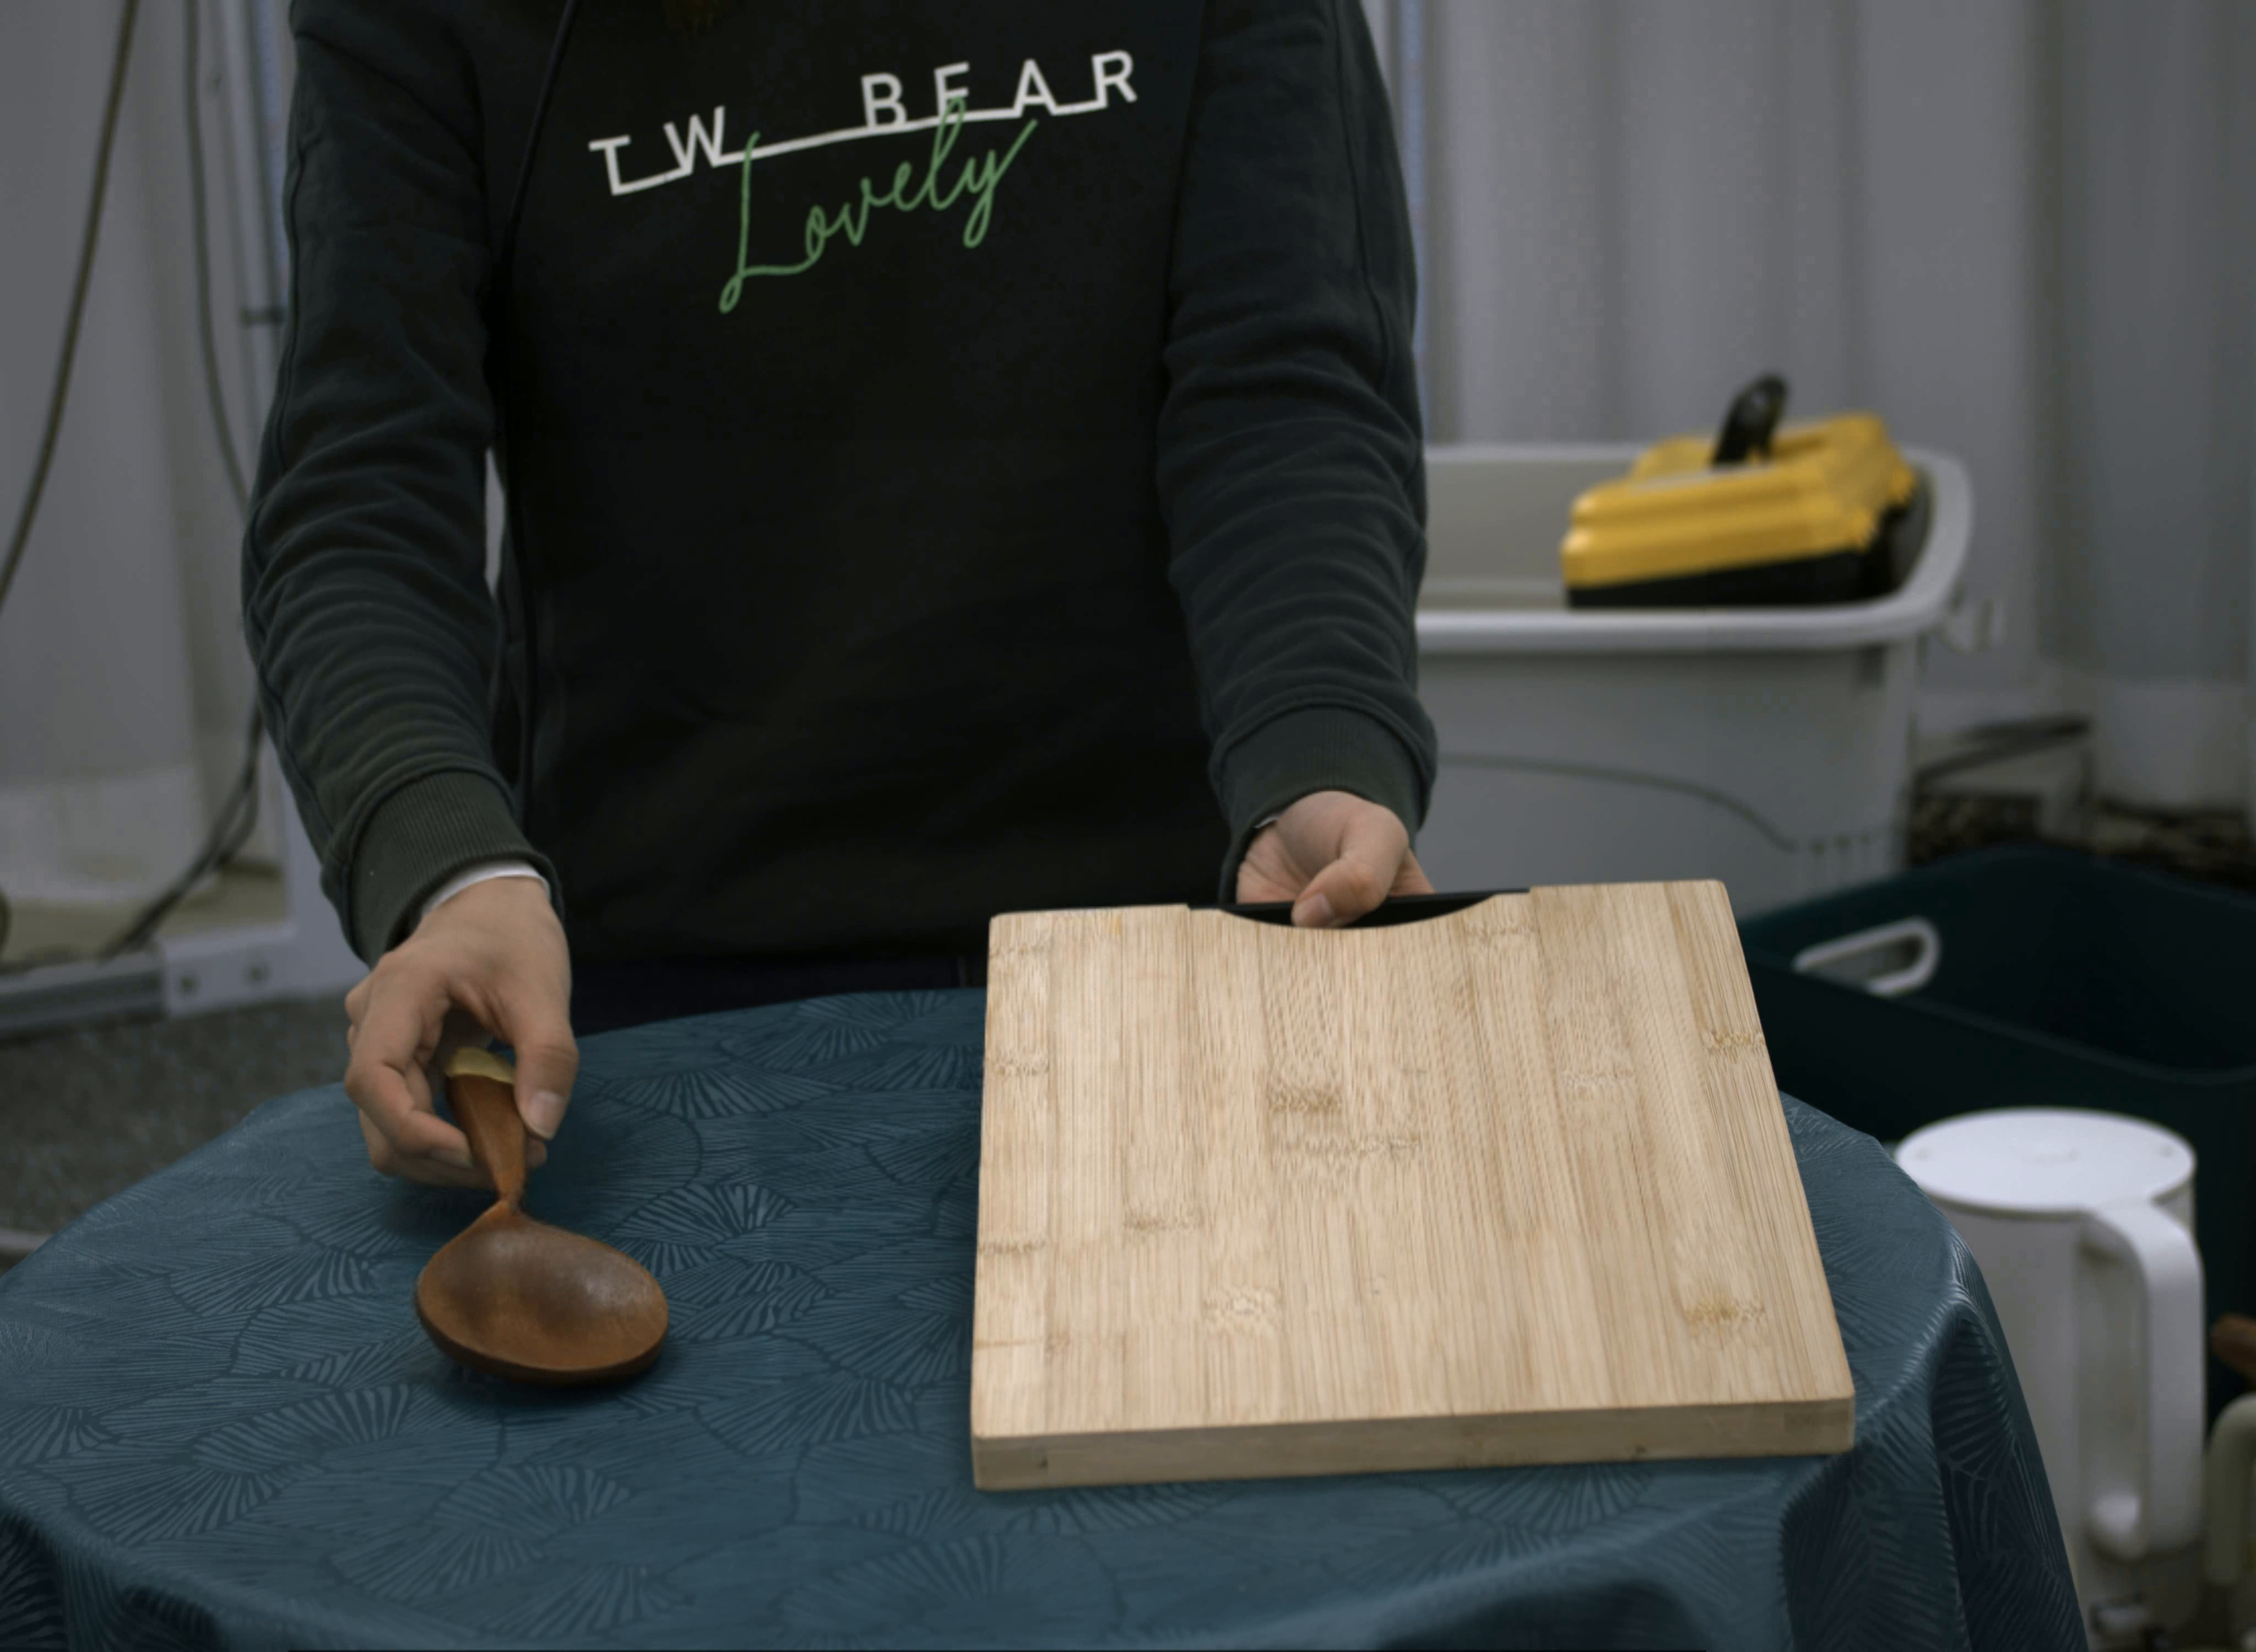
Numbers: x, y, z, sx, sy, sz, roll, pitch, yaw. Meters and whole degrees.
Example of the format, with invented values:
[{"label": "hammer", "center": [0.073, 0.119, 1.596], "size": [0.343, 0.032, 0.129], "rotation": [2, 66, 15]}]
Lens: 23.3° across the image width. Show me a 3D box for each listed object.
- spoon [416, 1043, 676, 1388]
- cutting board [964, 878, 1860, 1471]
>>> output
[{"label": "spoon", "center": [-0.183, 0.118, 1.649], "size": [0.075, 0.017, 0.218], "rotation": [0, 23, -13]}, {"label": "cutting board", "center": [0.077, 0.098, 1.633], "size": [0.250, 0.023, 0.352], "rotation": [-2, 23, 0]}]
